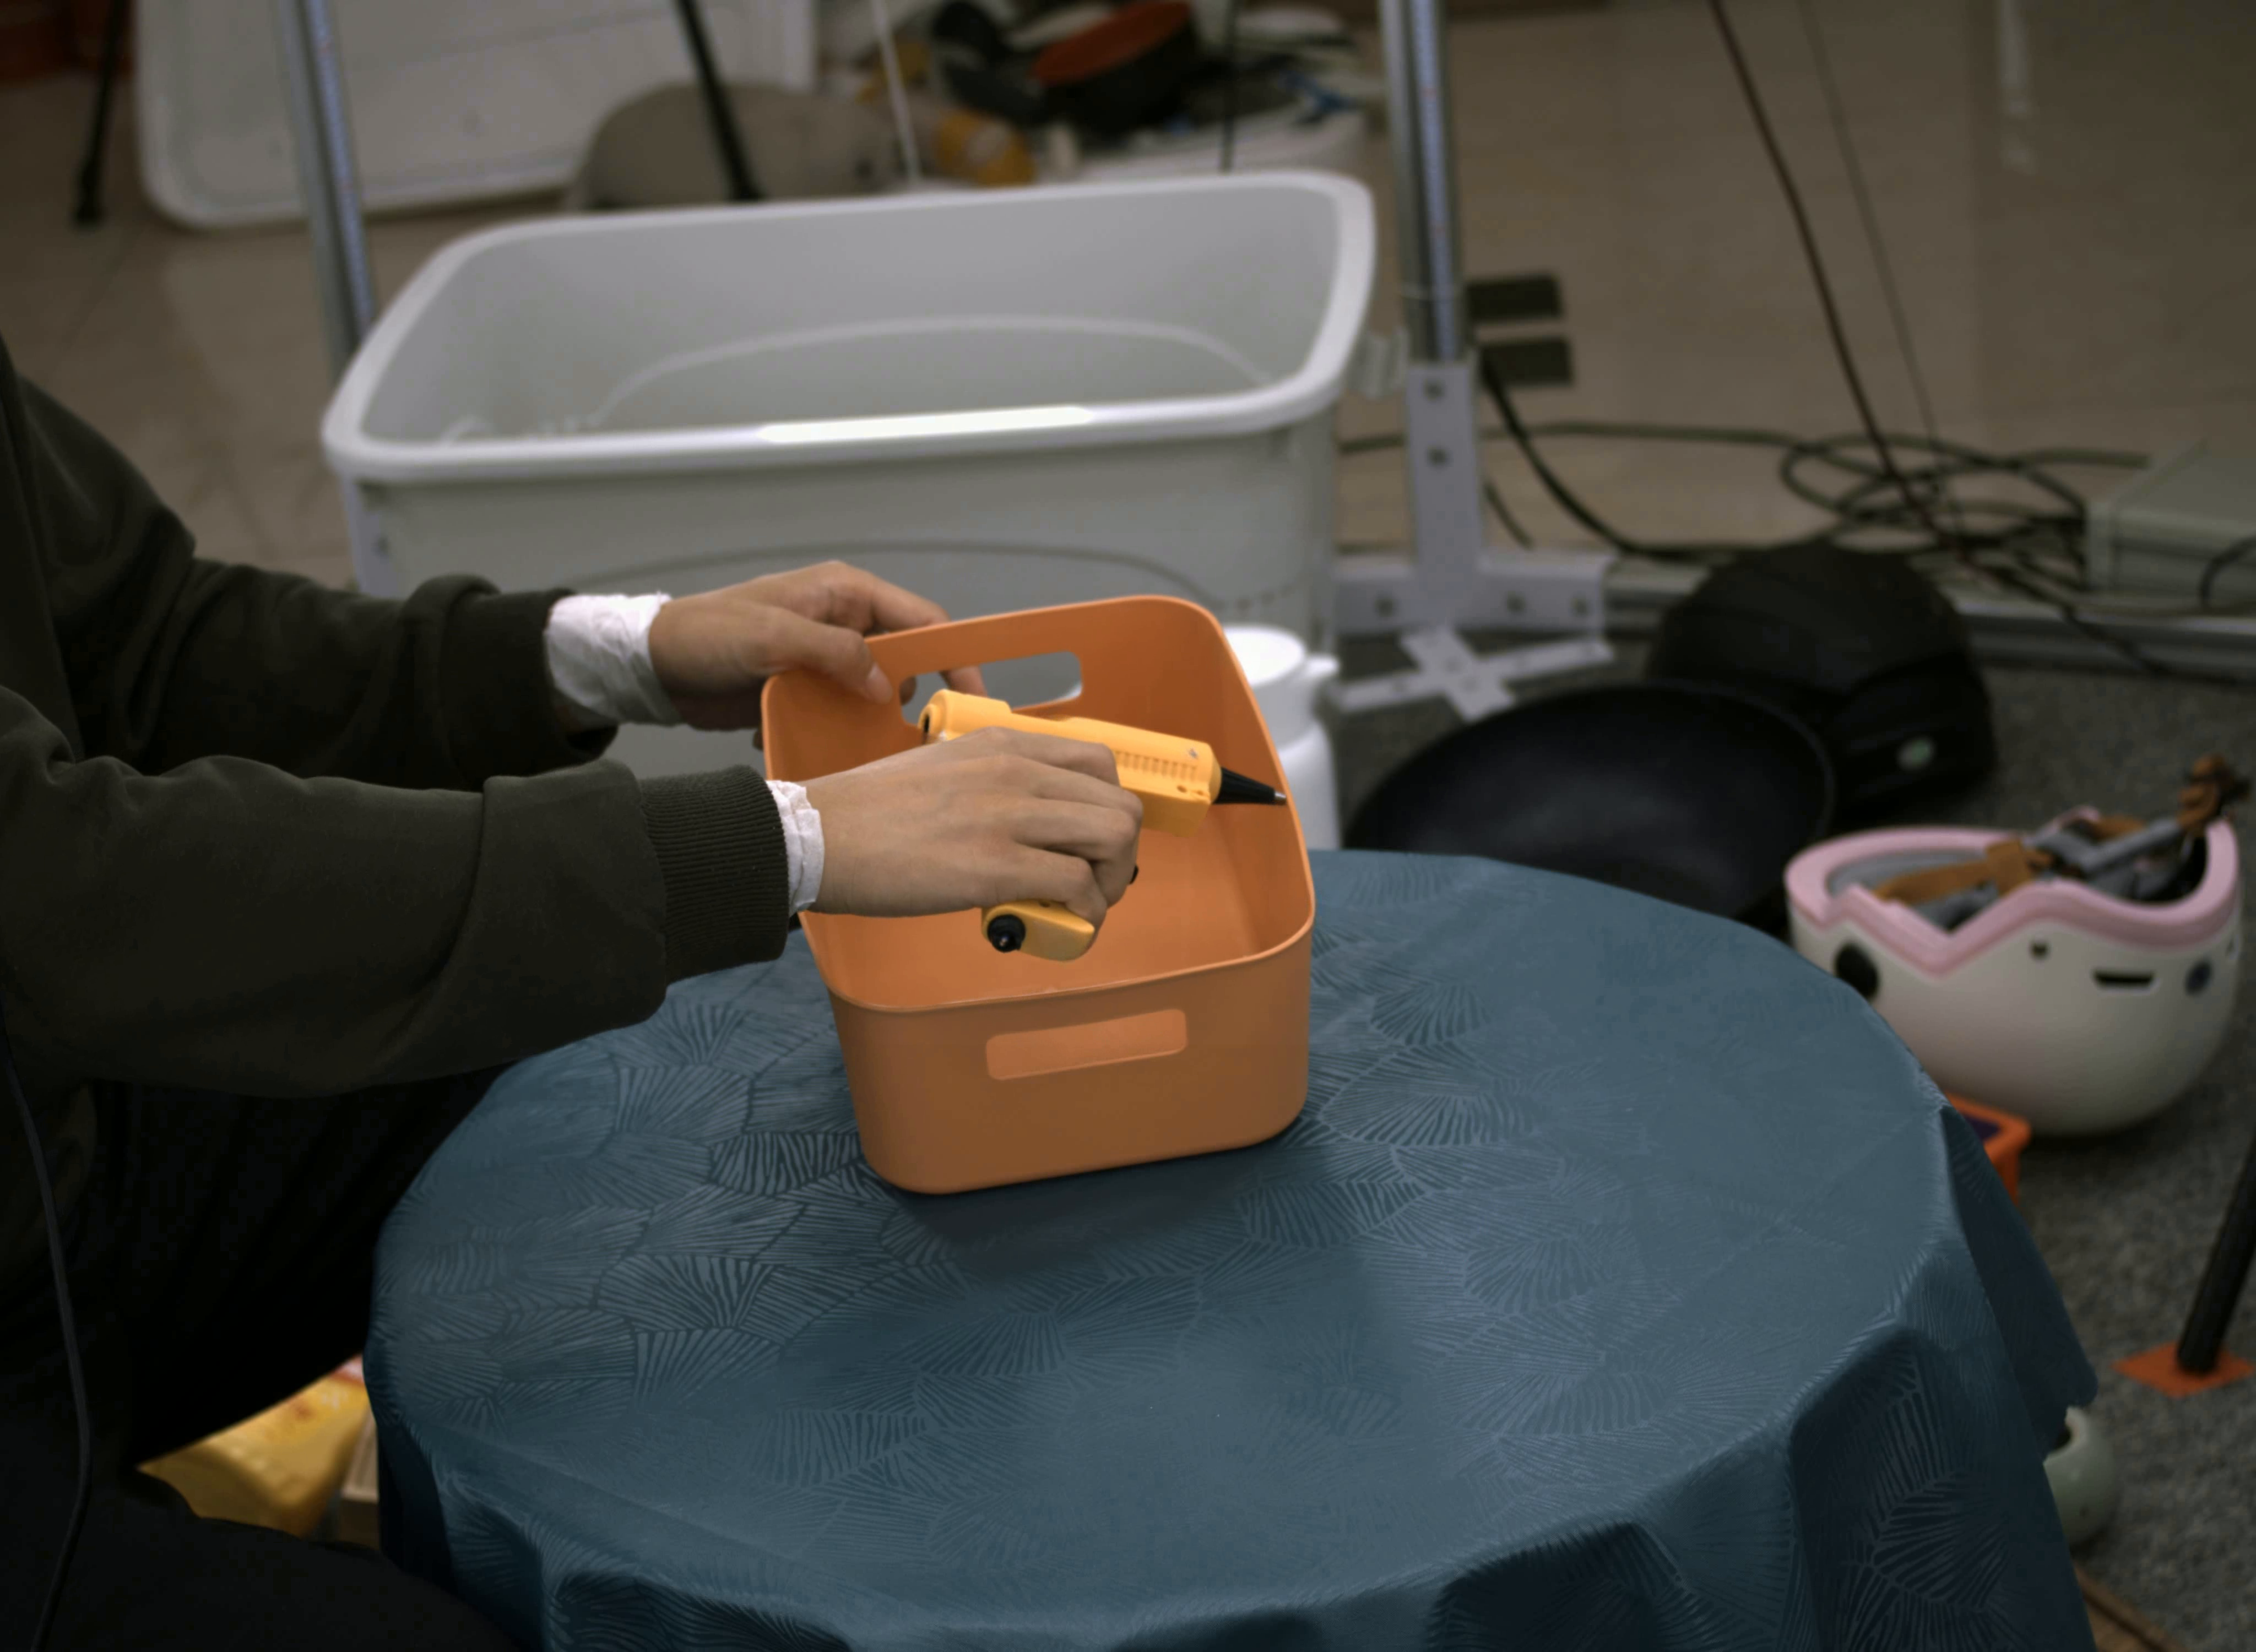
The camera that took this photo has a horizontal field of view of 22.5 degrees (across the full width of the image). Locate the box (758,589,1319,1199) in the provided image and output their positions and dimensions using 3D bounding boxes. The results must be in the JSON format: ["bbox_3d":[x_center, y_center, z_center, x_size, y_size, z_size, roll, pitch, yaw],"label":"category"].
[{"bbox_3d":[-0.035,0.028,2.234,0.199,0.104,0.268,-10,36,-5],"label":"box"}]

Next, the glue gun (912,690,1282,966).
[{"bbox_3d":[0.001,0.006,2.131,0.151,0.031,0.131,7,41,-26],"label":"glue gun"}]
